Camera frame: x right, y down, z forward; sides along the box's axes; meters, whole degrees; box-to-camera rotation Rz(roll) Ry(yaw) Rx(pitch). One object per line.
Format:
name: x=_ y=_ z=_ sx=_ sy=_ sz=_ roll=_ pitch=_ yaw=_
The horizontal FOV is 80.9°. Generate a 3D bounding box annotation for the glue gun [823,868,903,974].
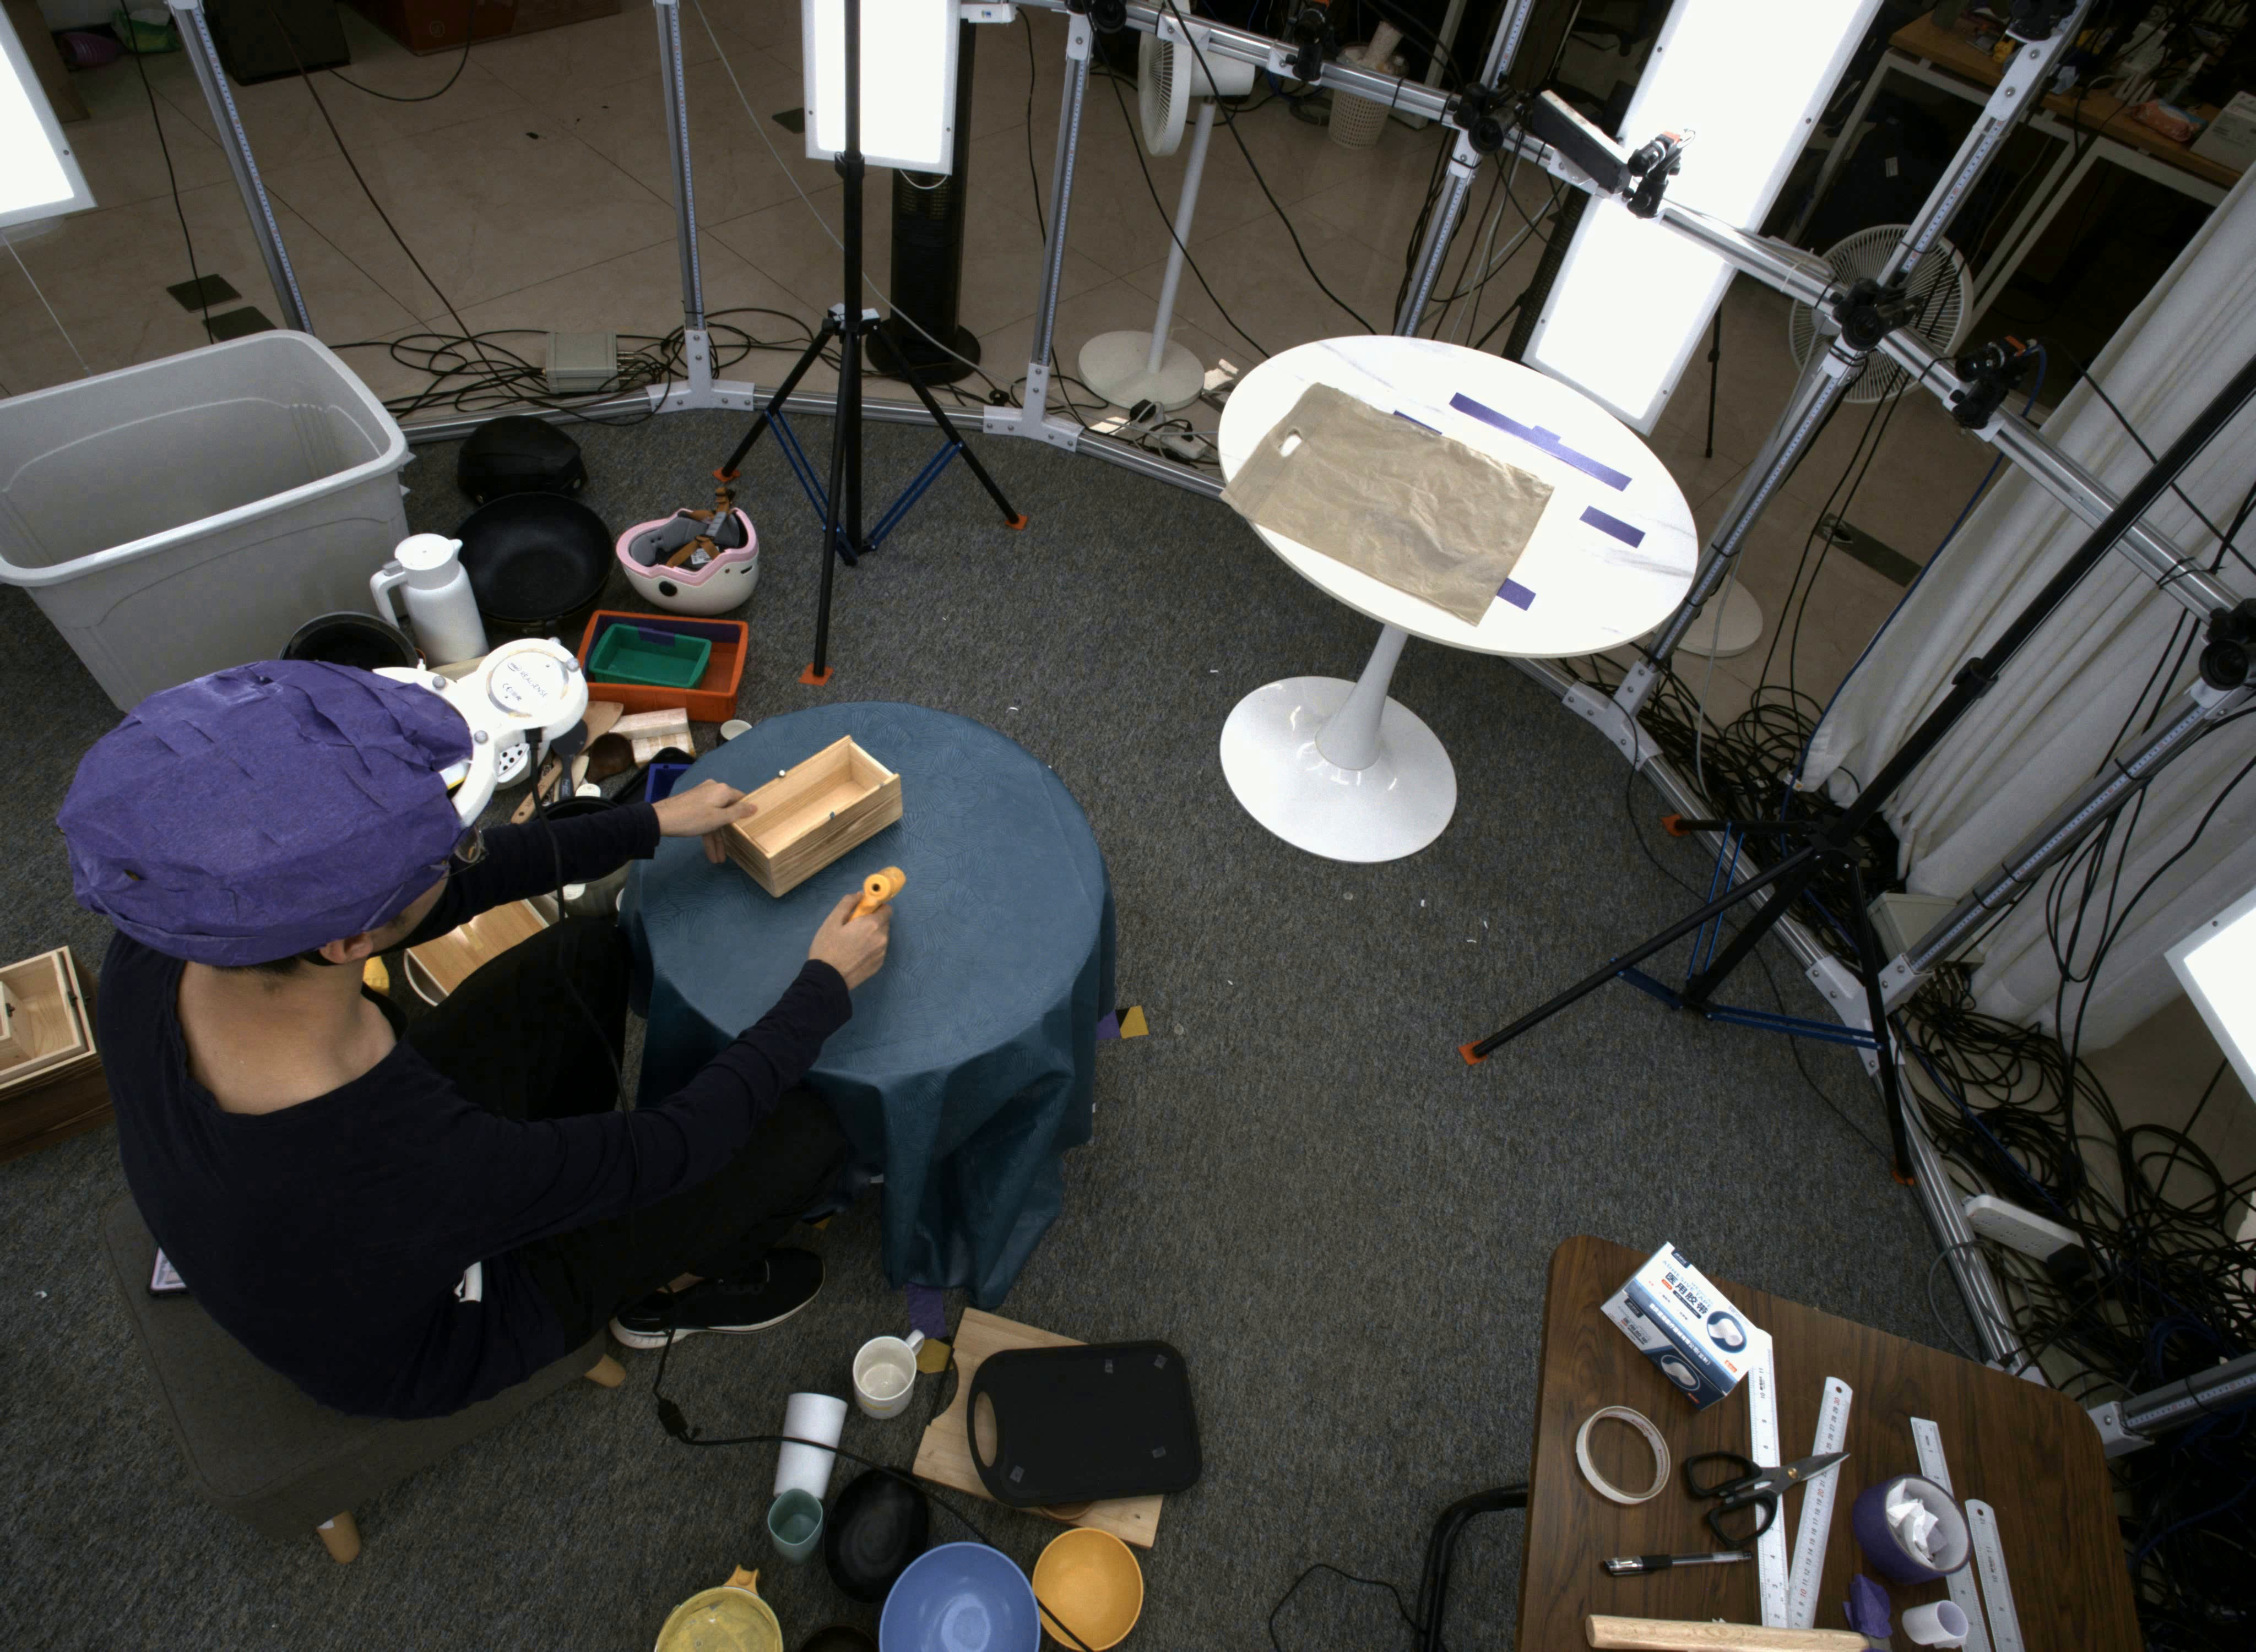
glue gun: x=-0.317 y=0.106 z=1.580 sx=0.031 sy=0.150 sz=0.134 roll=32 pitch=97 yaw=-2

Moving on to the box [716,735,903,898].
box: x=-0.408 y=-0.017 z=1.676 sx=0.104 sy=0.082 sz=0.212 roll=37 pitch=53 yaw=24
